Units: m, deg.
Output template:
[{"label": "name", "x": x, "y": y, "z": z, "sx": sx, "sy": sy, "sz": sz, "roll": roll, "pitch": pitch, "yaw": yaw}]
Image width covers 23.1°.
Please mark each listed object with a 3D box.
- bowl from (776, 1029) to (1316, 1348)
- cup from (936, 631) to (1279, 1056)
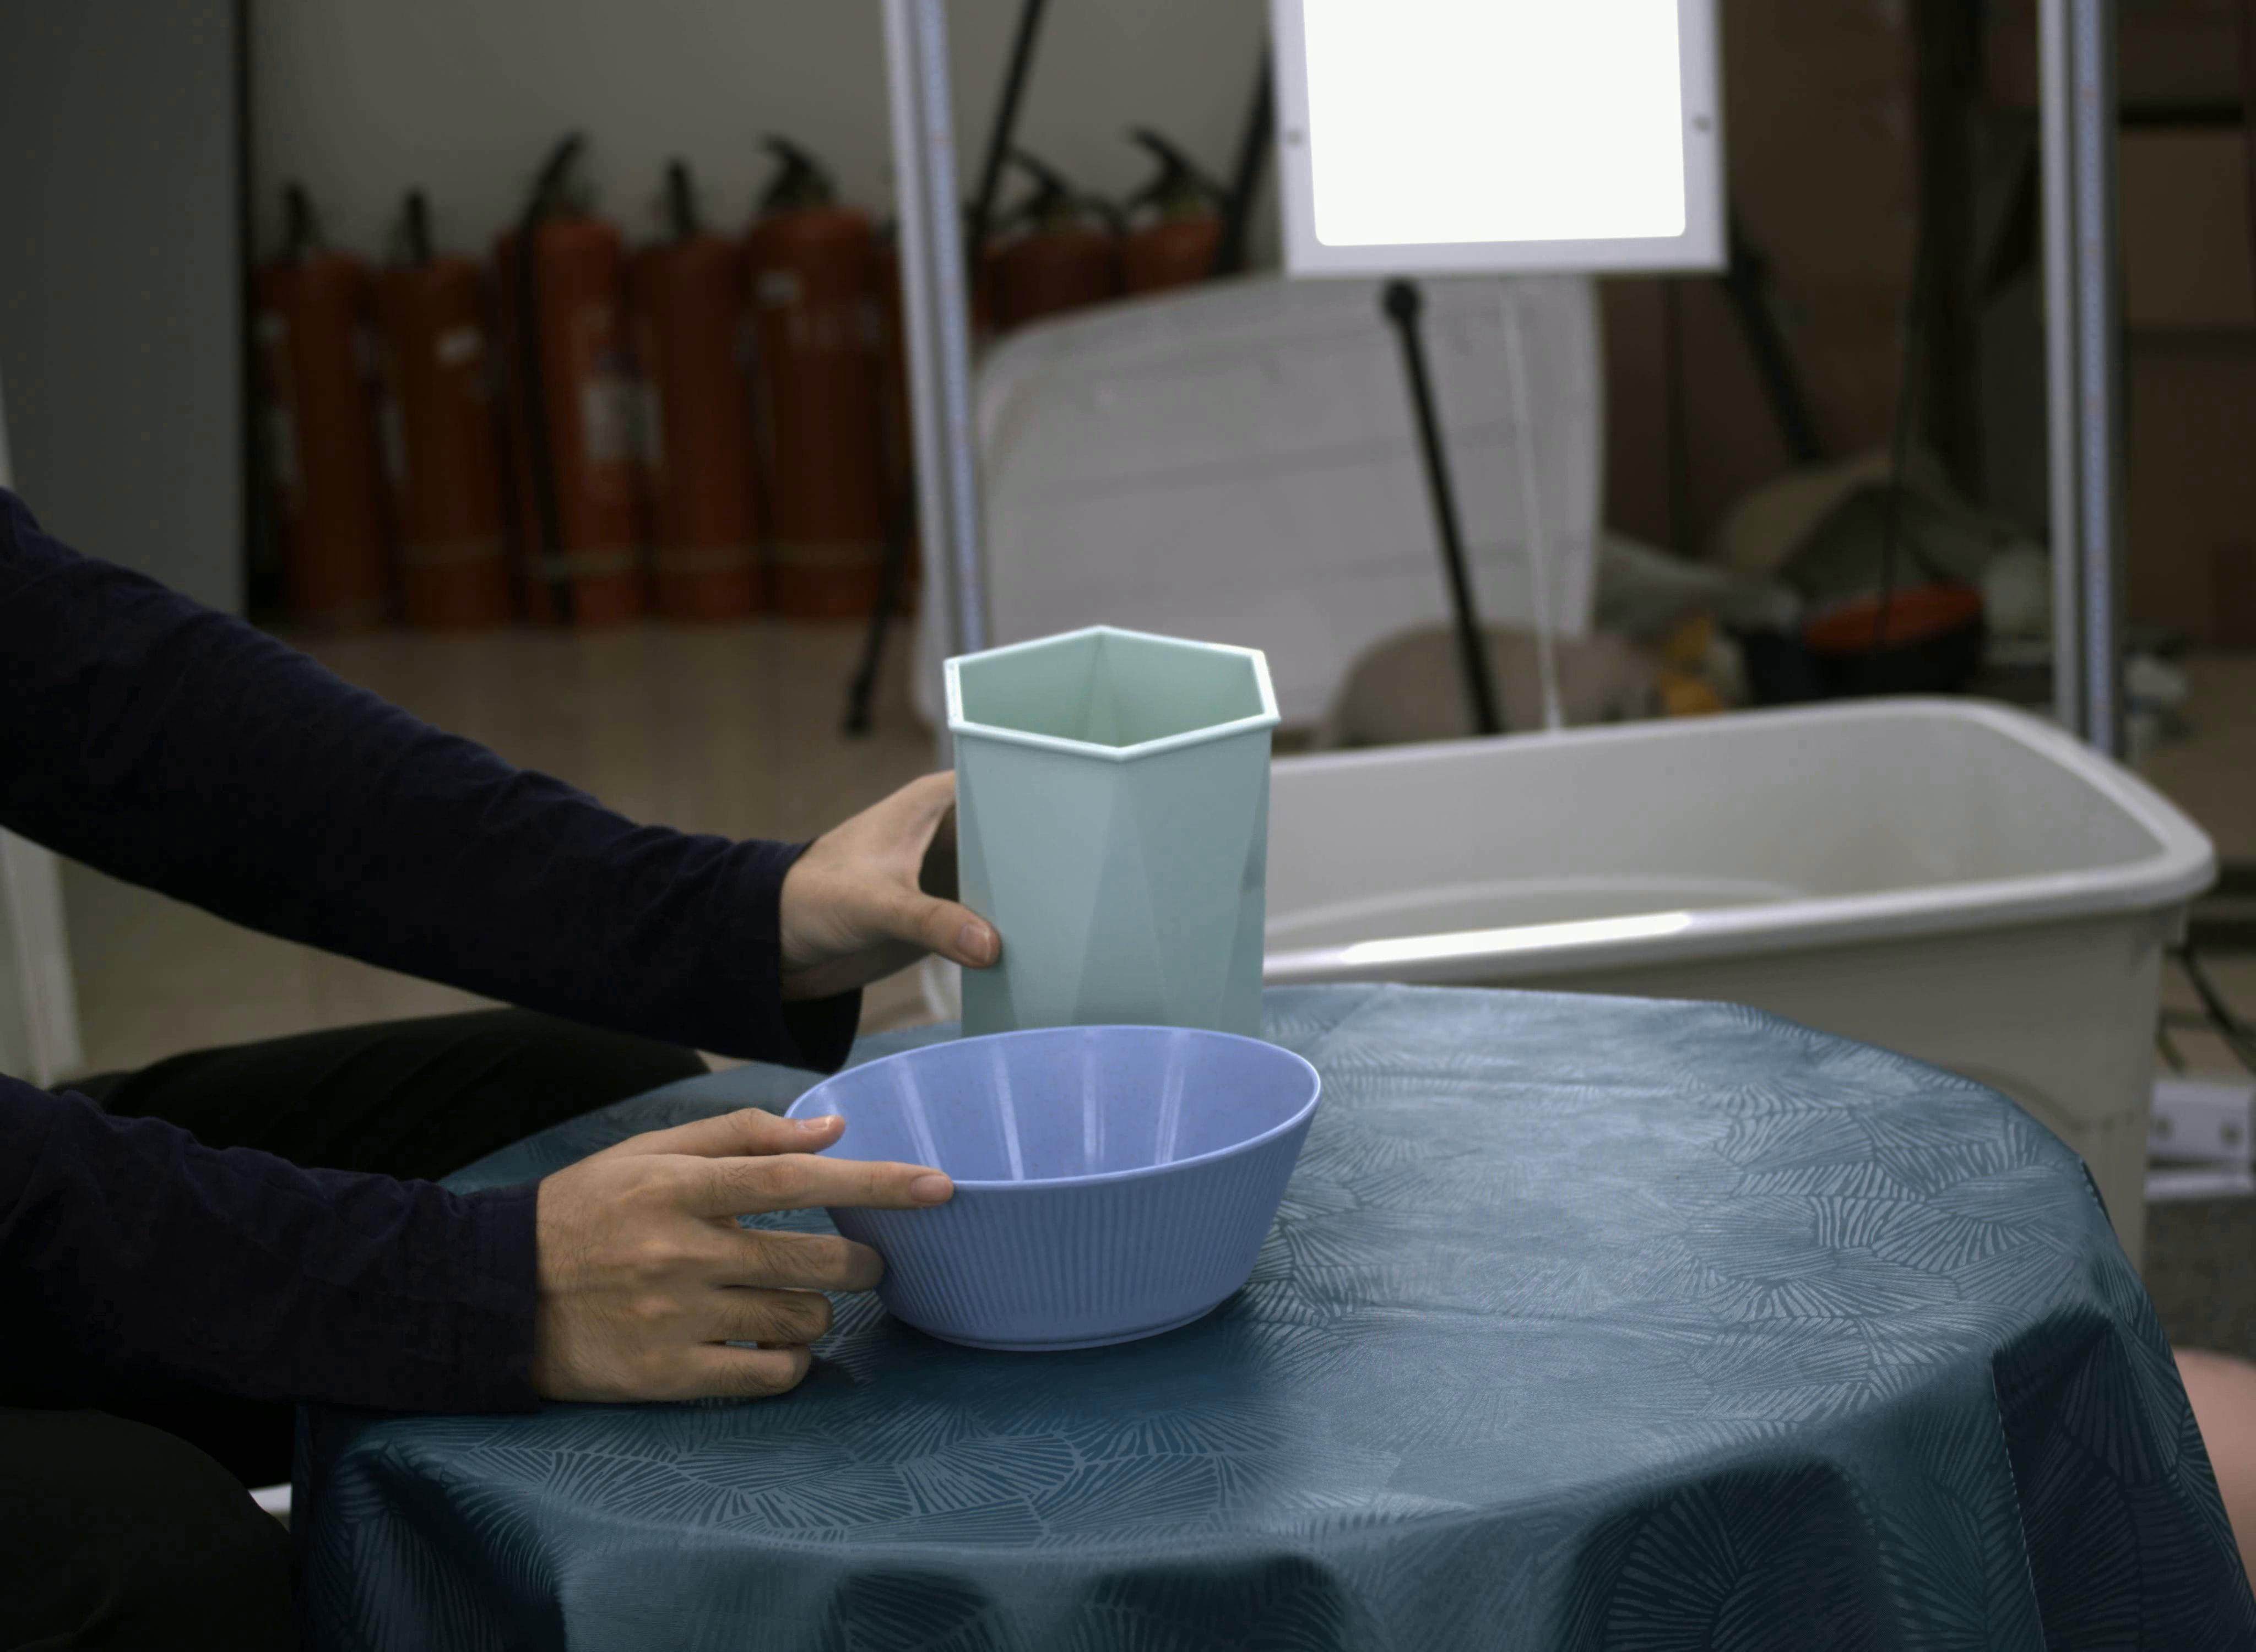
[{"label": "bowl", "x": -0.024, "y": 0.120, "z": 1.786, "sx": 0.175, "sy": 0.070, "sz": 0.176, "roll": -5, "pitch": 13, "yaw": 0}, {"label": "cup", "x": -0.004, "y": 0.026, "z": 1.937, "sx": 0.114, "sy": 0.163, "sz": 0.131, "roll": -4, "pitch": 20, "yaw": -4}]
